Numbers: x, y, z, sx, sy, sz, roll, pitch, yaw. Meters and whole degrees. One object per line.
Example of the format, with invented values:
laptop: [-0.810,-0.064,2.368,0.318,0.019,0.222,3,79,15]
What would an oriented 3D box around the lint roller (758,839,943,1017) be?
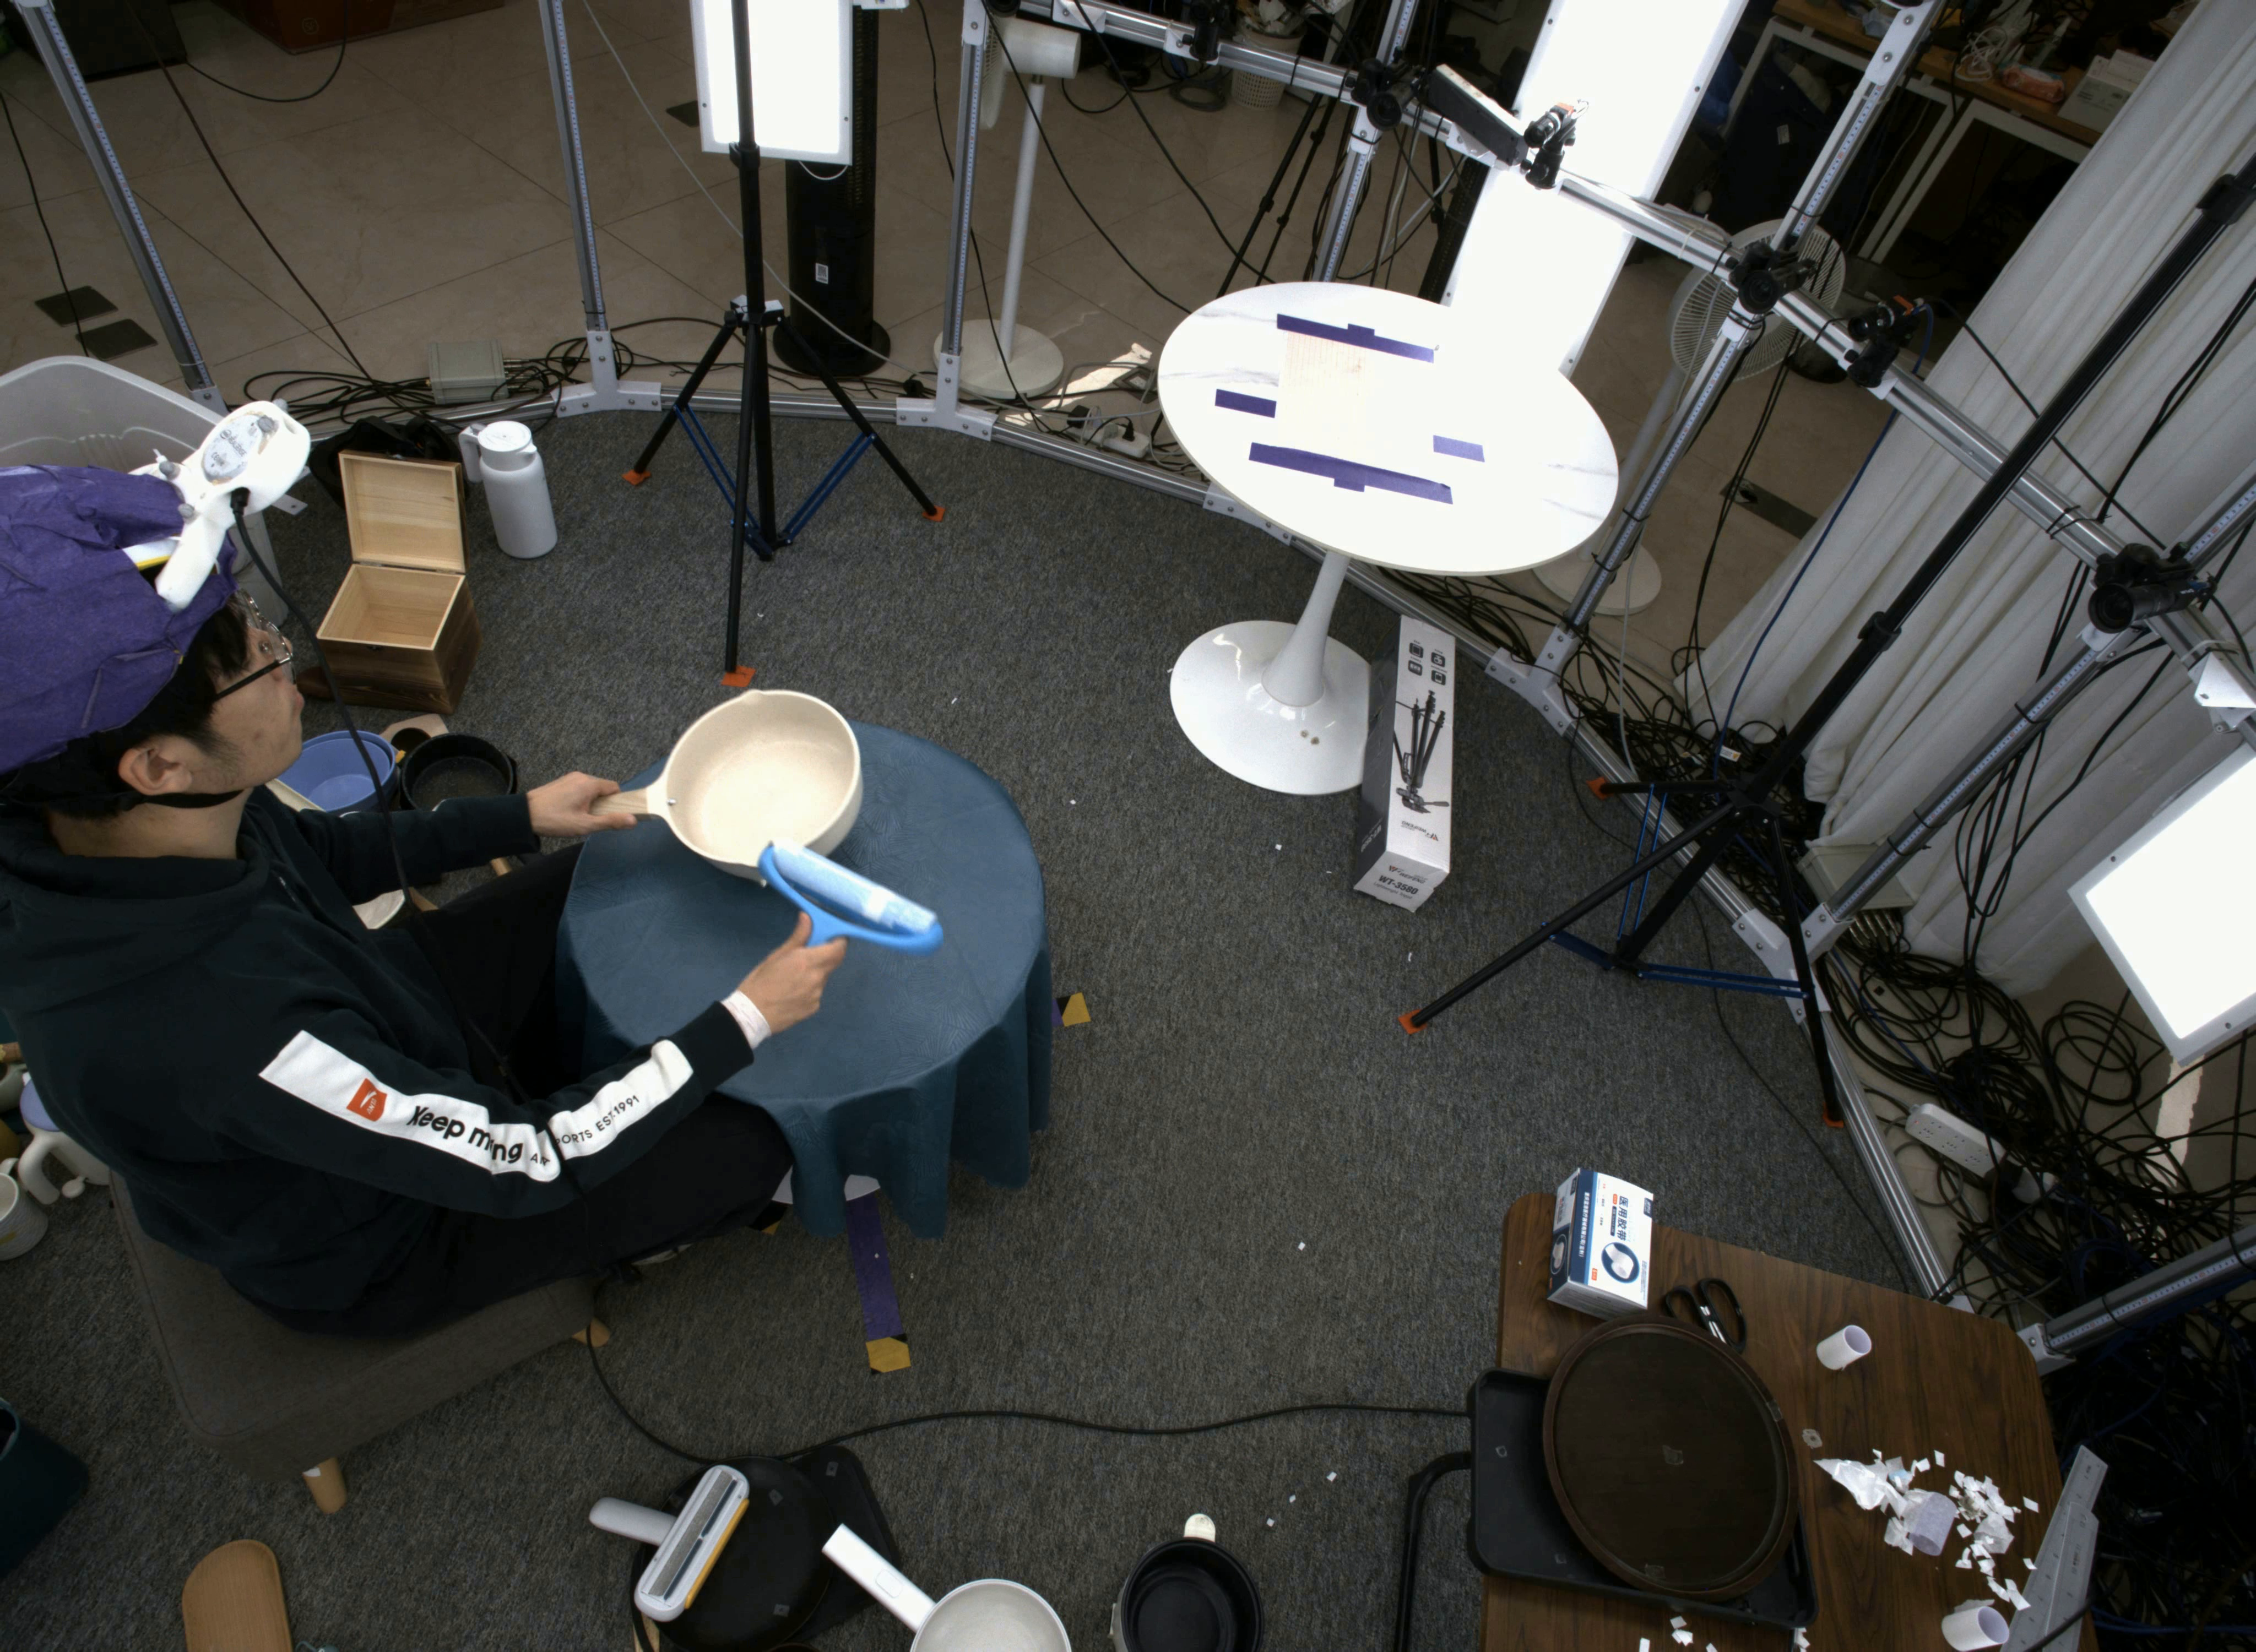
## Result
lint roller: [-0.334,0.125,1.445,0.229,0.068,0.179,27,56,-5]

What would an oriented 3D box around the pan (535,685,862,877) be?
pan: [-0.544,-0.031,1.627,0.432,0.104,0.258,-14,64,-5]
